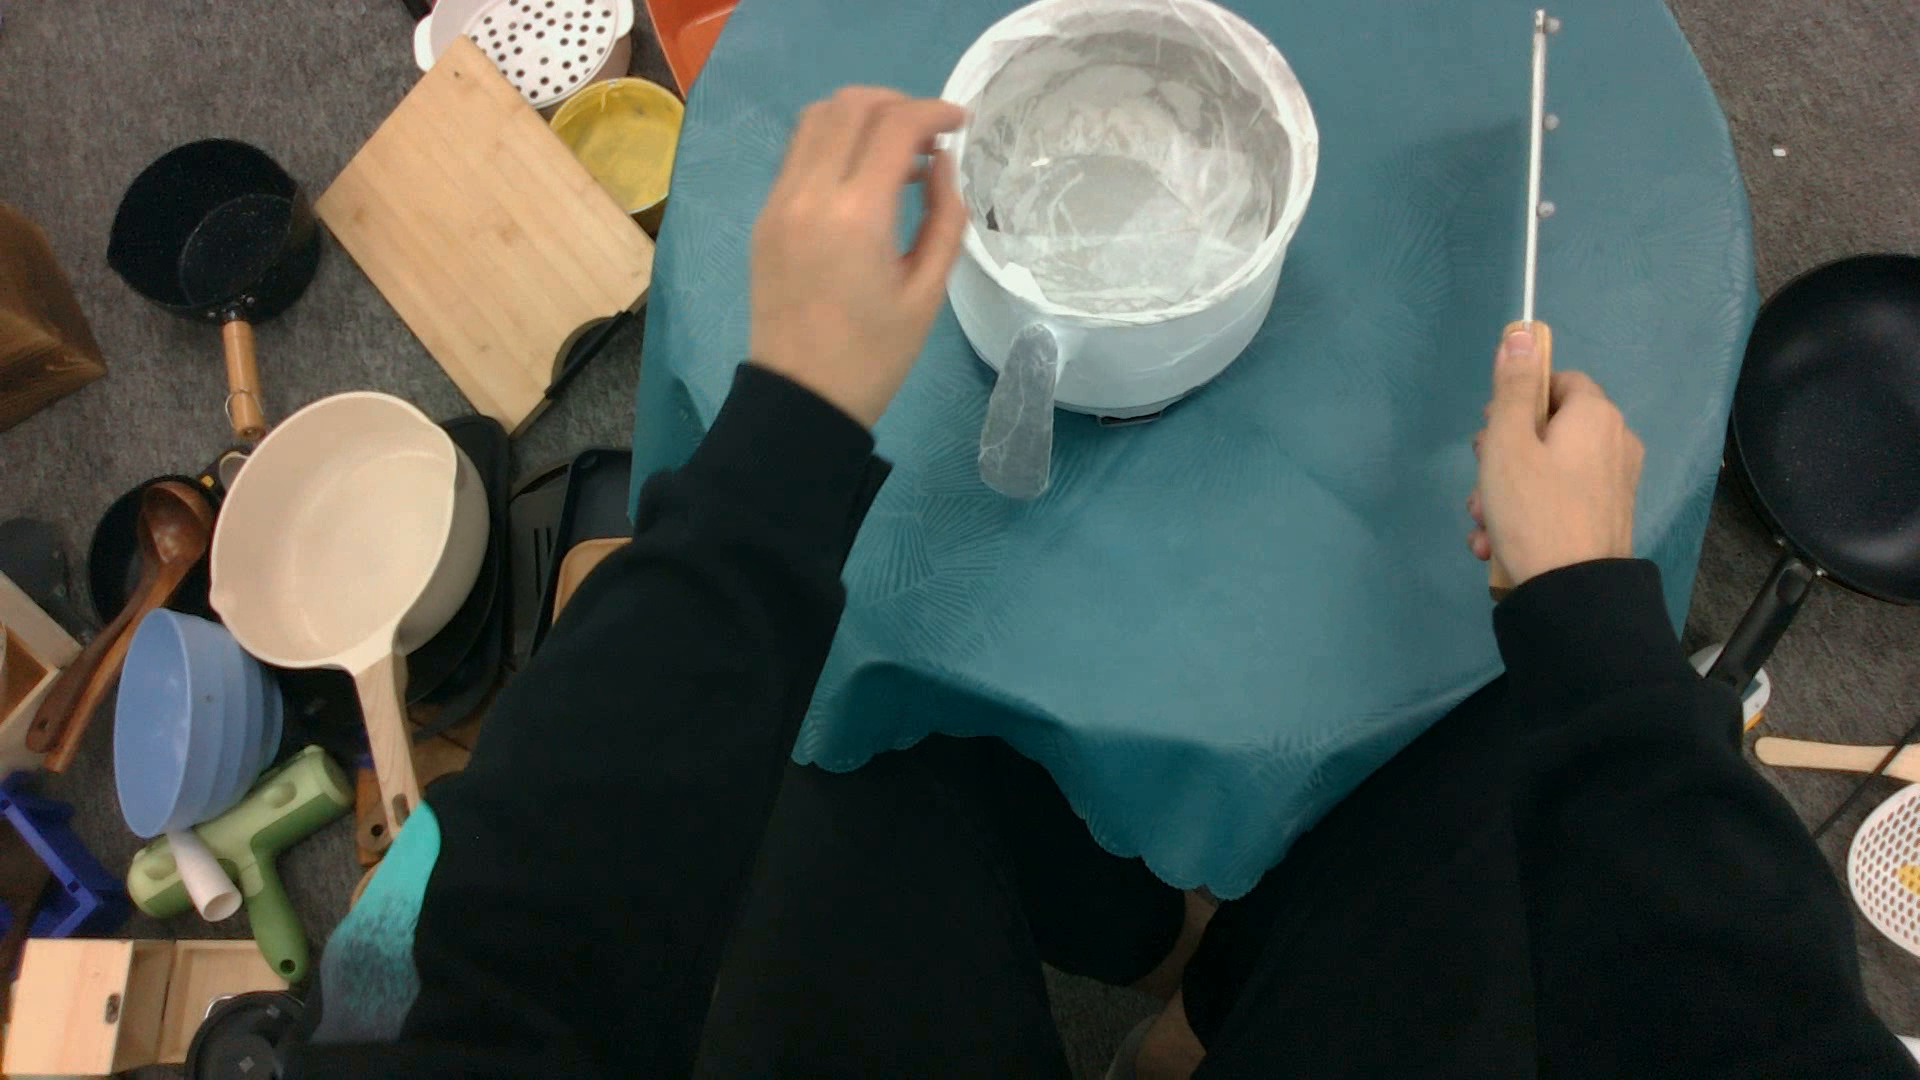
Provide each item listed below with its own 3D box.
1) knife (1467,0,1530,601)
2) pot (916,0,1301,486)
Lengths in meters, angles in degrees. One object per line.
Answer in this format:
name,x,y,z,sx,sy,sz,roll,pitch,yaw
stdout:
knife,0.265,-0.120,0.666,0.022,0.114,0.316,3,69,20
pot,0.061,-0.144,0.686,0.178,0.136,0.234,20,75,9
